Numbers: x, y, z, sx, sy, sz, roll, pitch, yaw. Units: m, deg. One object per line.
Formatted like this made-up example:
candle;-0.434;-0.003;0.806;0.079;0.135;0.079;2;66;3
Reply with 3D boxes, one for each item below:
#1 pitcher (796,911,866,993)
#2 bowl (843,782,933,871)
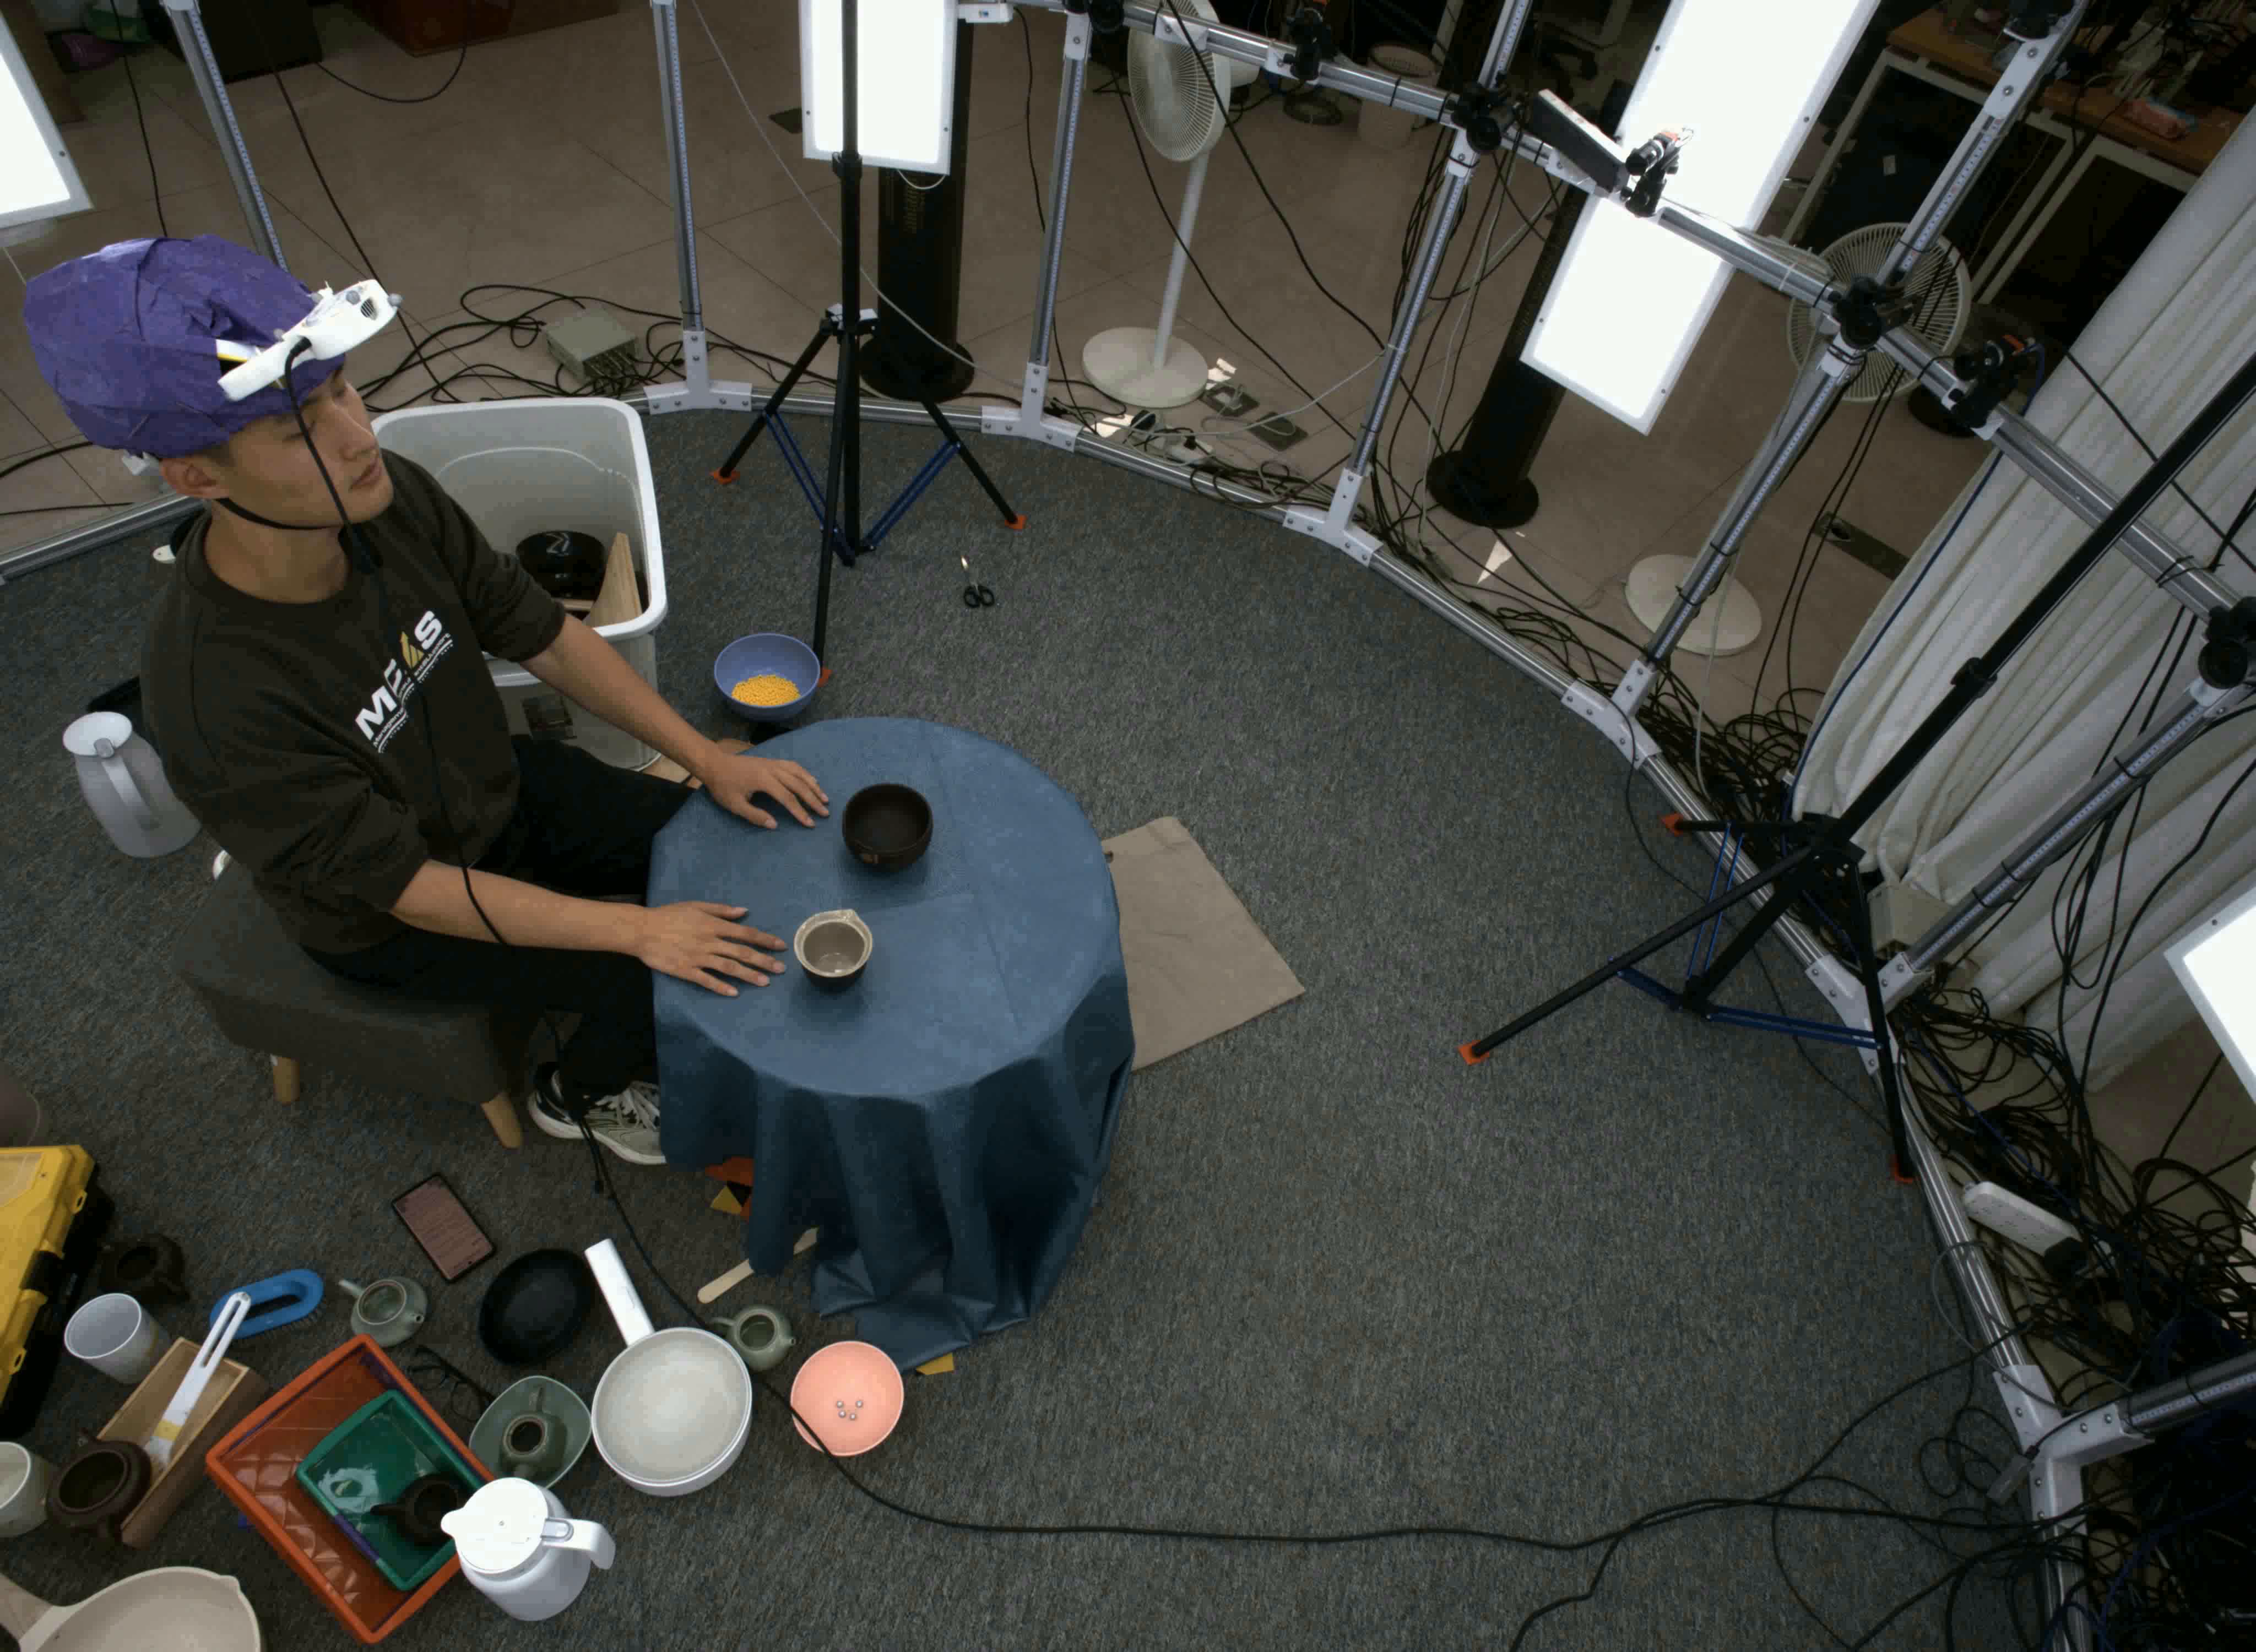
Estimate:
pitcher;-0.358;0.157;1.585;0.082;0.073;0.095;22;52;7
bowl;-0.316;0.007;1.709;0.118;0.071;0.116;8;53;-9
